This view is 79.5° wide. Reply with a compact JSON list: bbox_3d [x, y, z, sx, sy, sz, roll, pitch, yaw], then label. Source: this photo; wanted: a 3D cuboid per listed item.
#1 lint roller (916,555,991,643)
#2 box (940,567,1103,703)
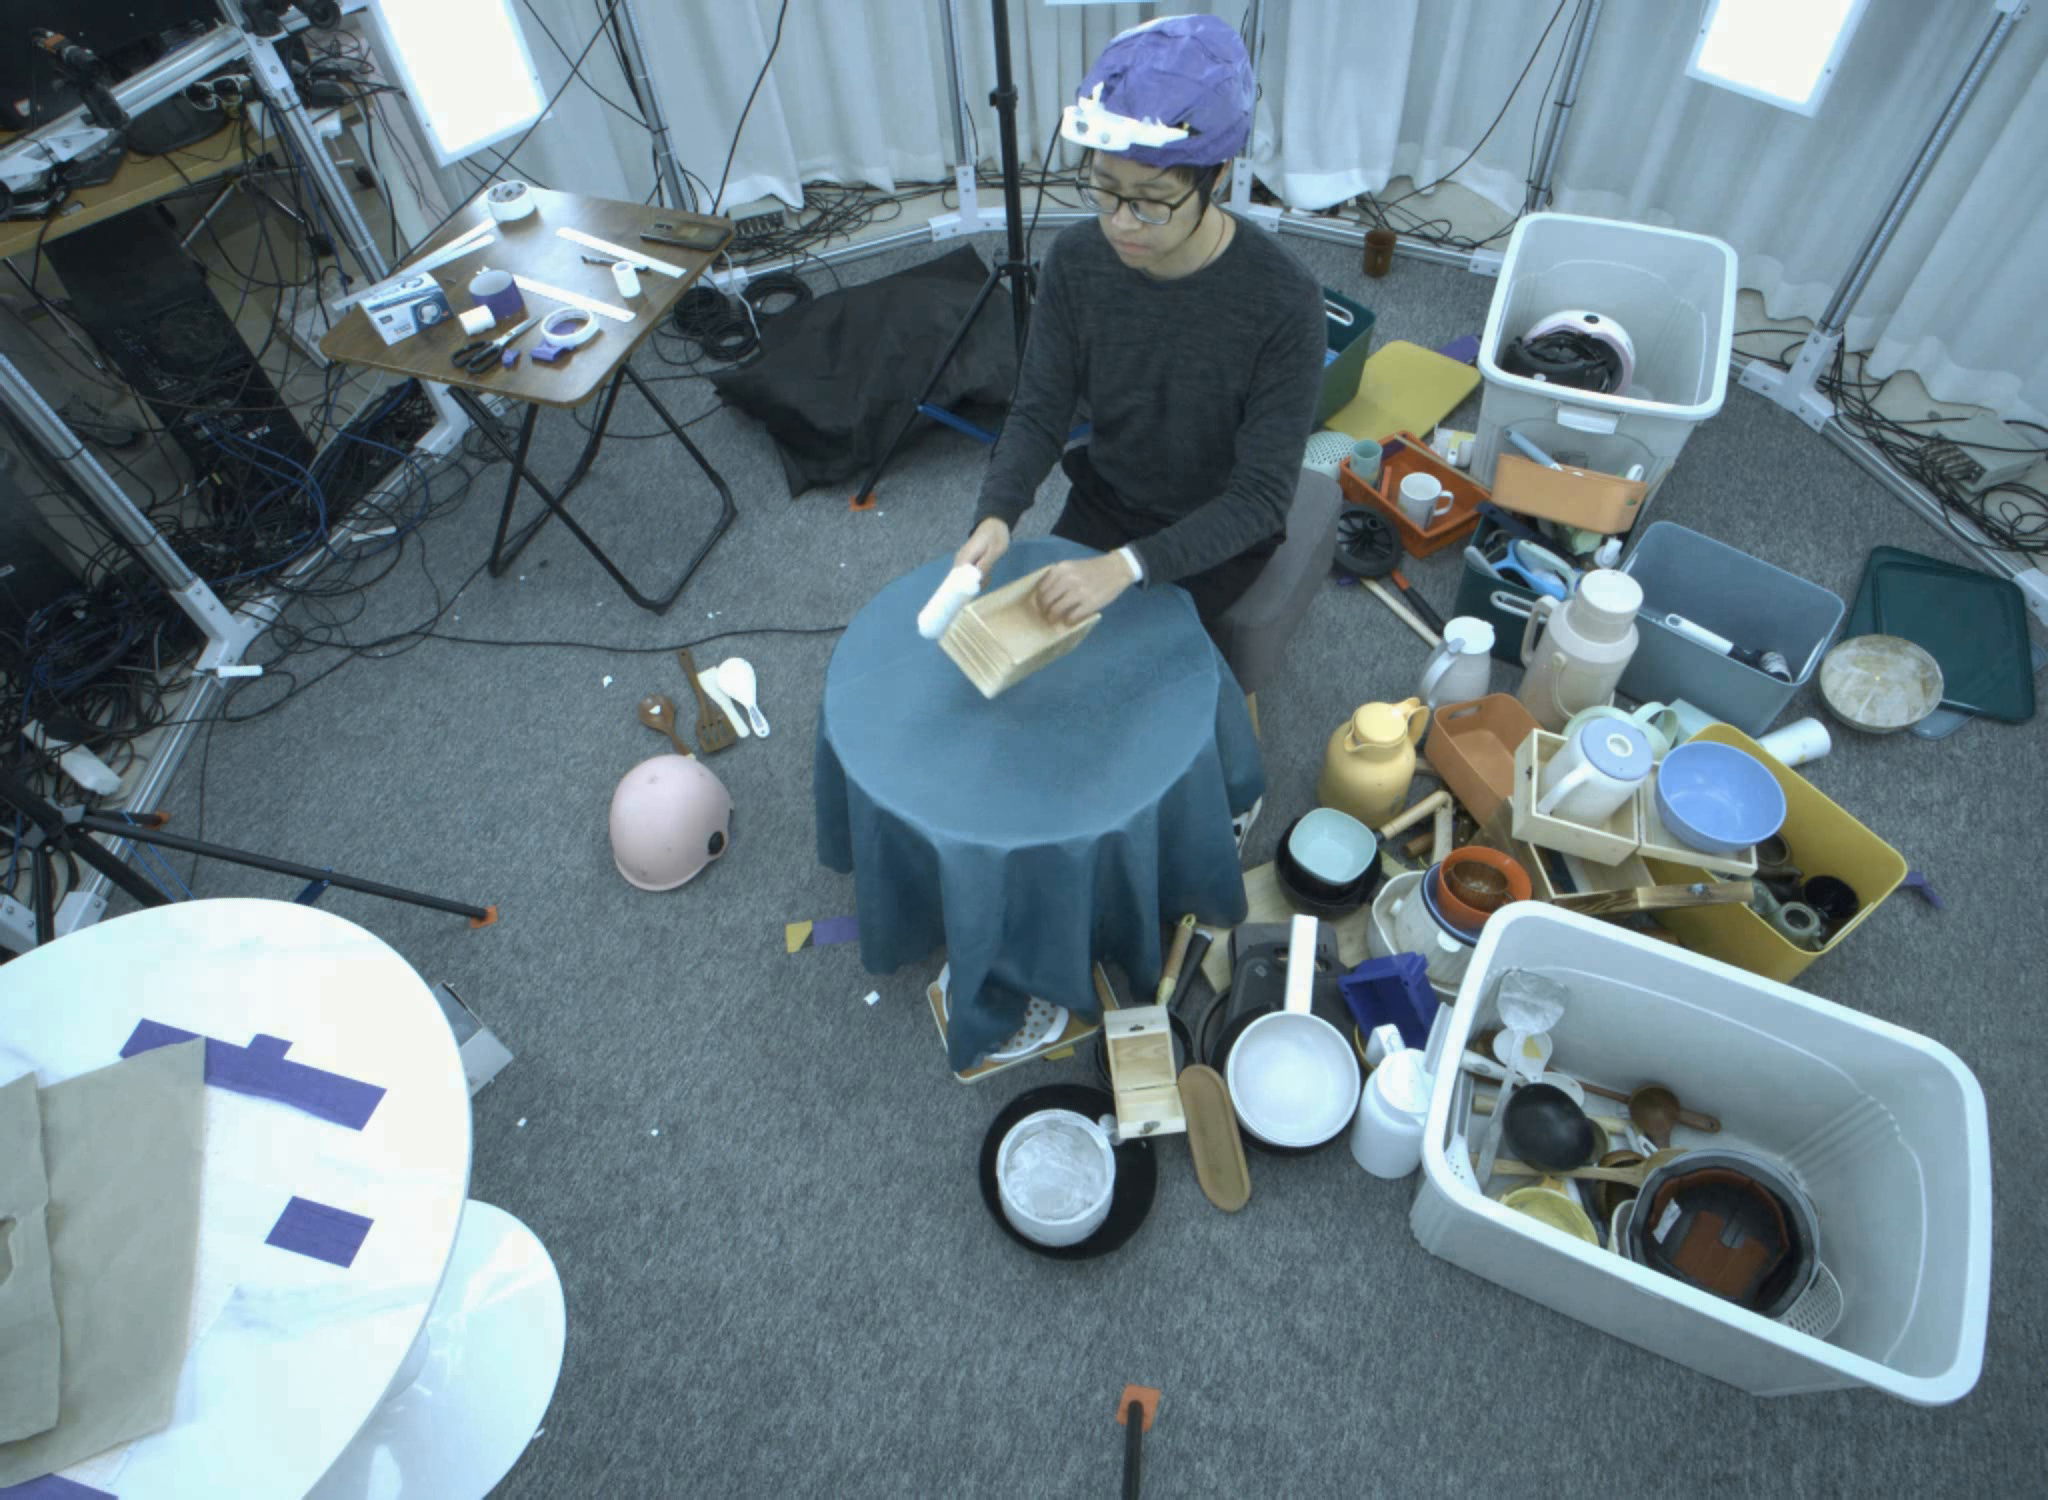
[{"bbox_3d":[-0.092,-0.243,1.775,0.051,0.132,0.180,33,43,-13],"label":"lint roller"},{"bbox_3d":[-0.002,-0.162,1.694,0.107,0.080,0.214,47,42,6],"label":"box"}]
